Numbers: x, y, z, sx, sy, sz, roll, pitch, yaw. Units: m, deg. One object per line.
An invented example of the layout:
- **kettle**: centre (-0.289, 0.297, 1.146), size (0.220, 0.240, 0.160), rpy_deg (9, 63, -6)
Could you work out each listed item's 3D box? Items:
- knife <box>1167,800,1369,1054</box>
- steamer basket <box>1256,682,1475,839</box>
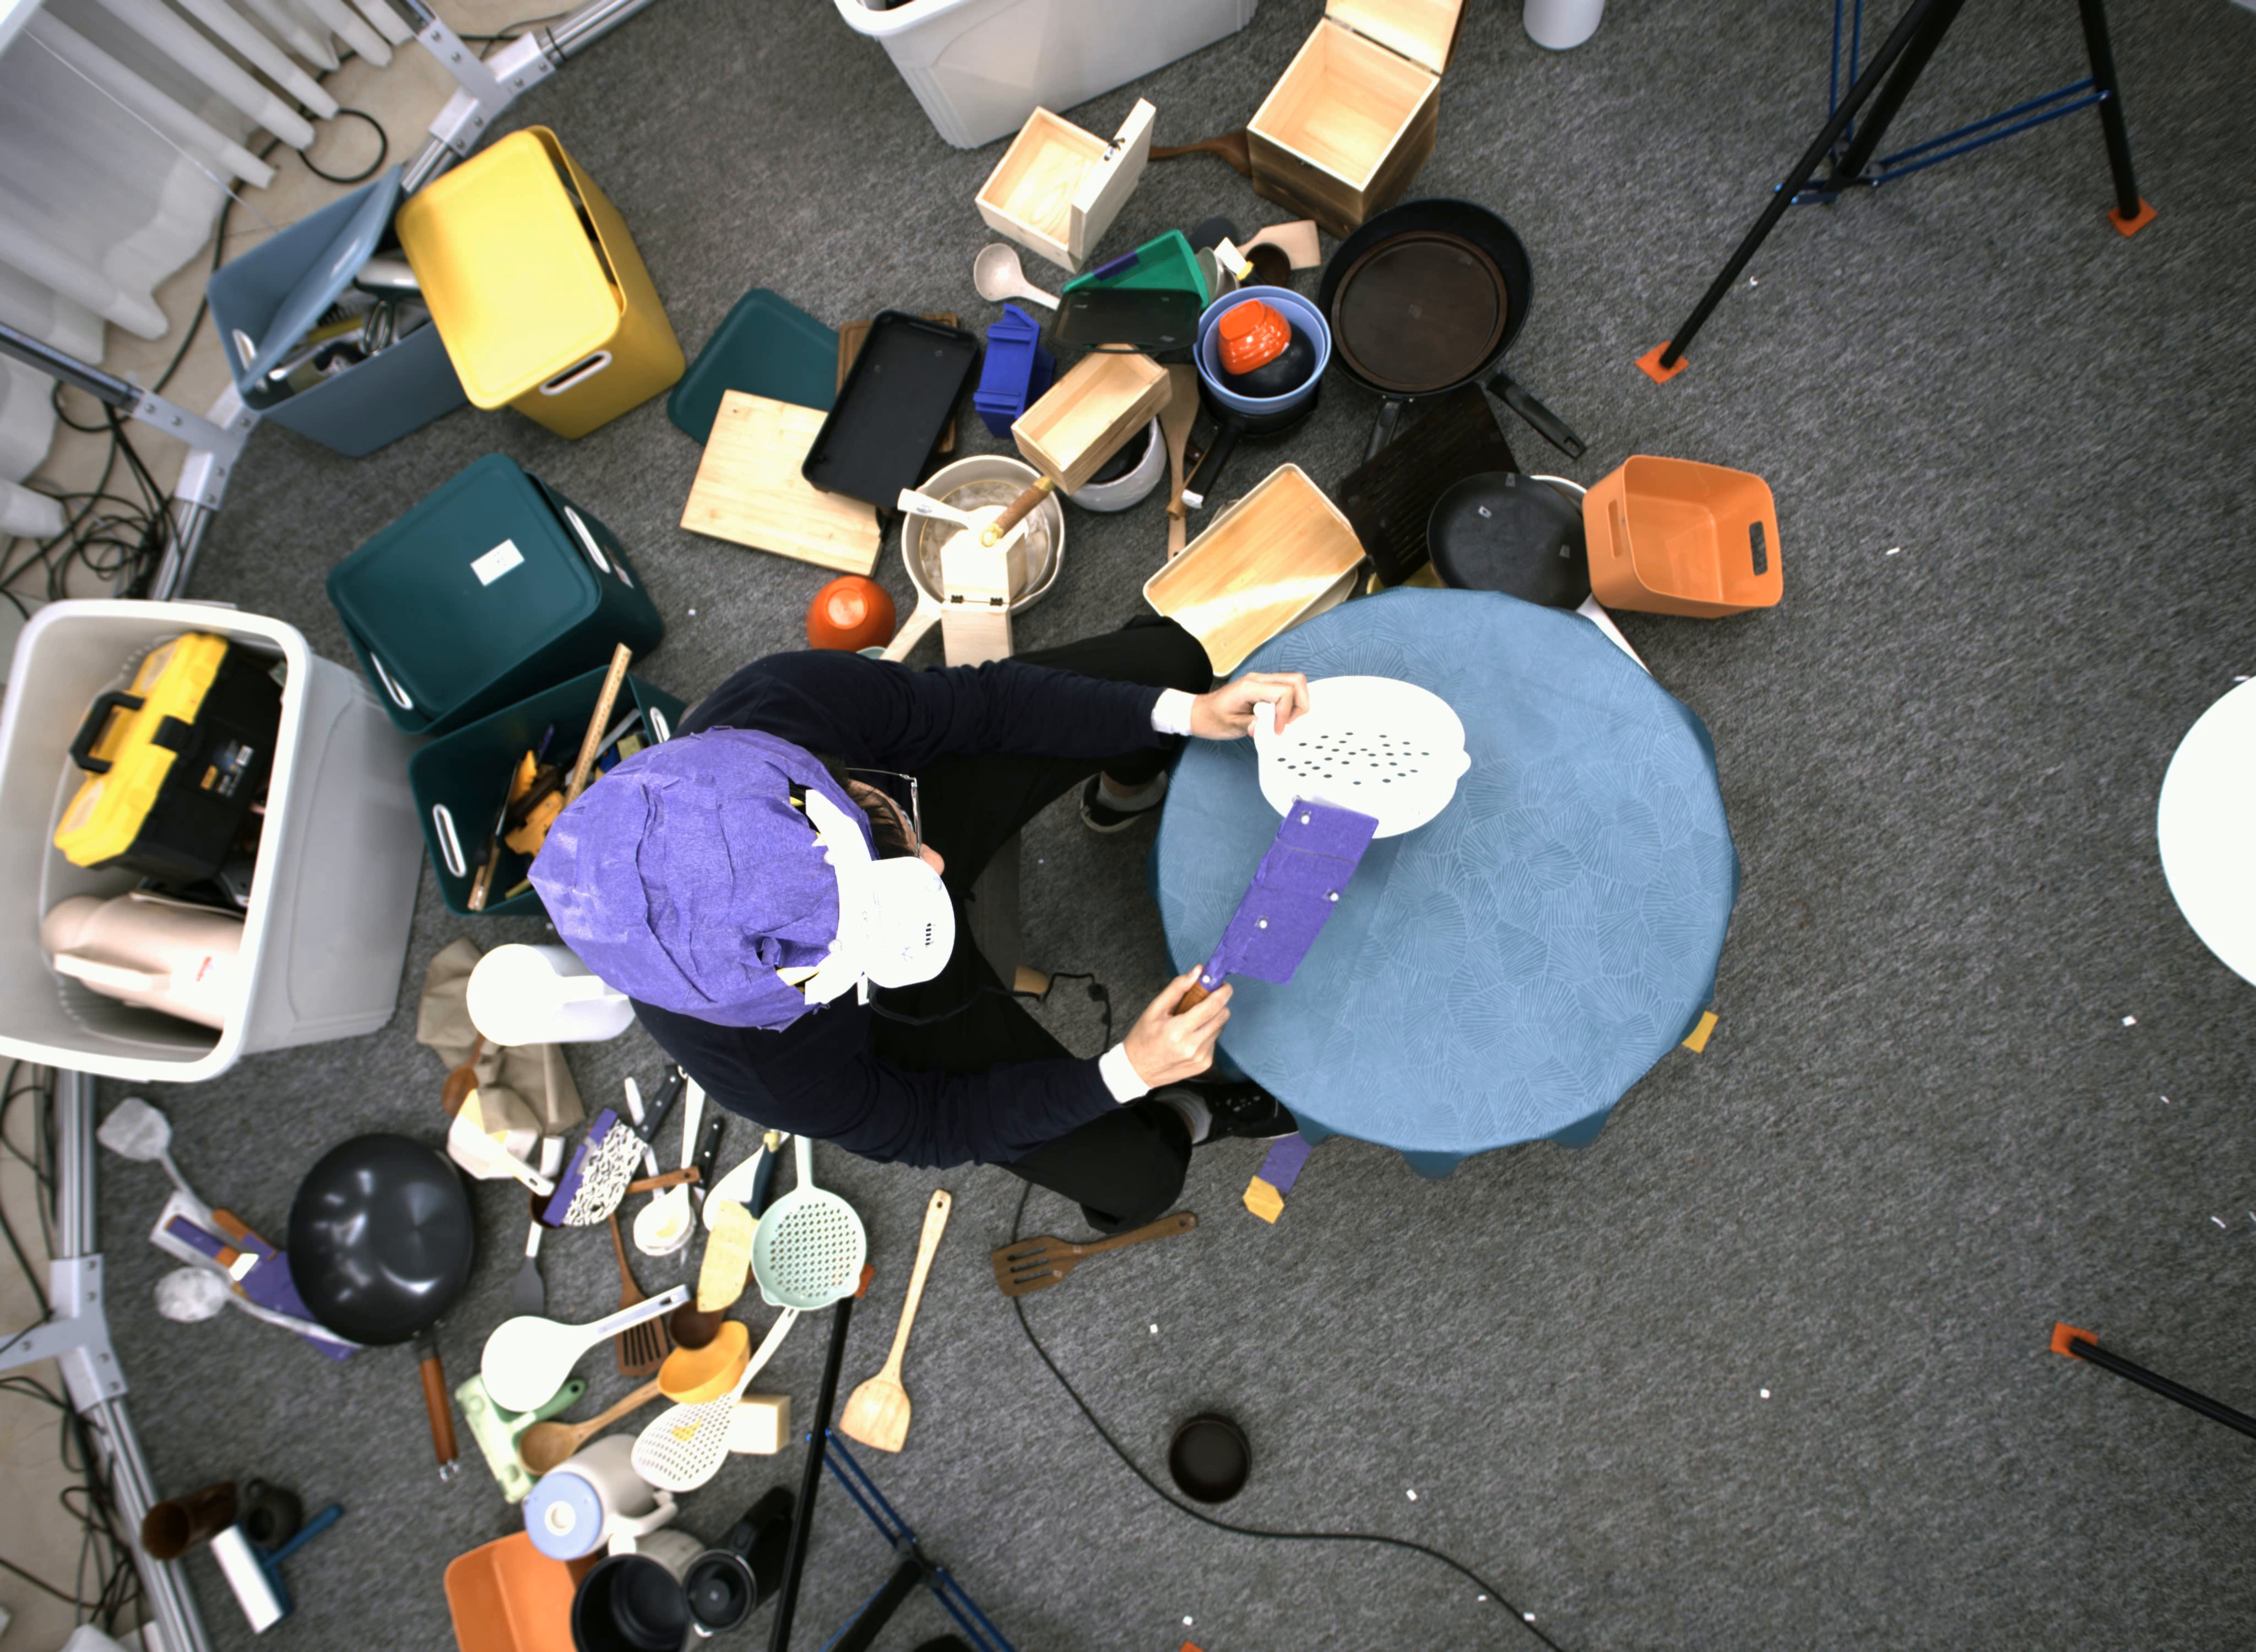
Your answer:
- **knife**: centre (0.134, 0.108, 1.333), size (0.104, 0.031, 0.323), rpy_deg (13, 126, -16)
- **steamer basket**: centre (0.229, -0.066, 1.346), size (0.229, 0.071, 0.198), rpy_deg (26, 48, 38)
